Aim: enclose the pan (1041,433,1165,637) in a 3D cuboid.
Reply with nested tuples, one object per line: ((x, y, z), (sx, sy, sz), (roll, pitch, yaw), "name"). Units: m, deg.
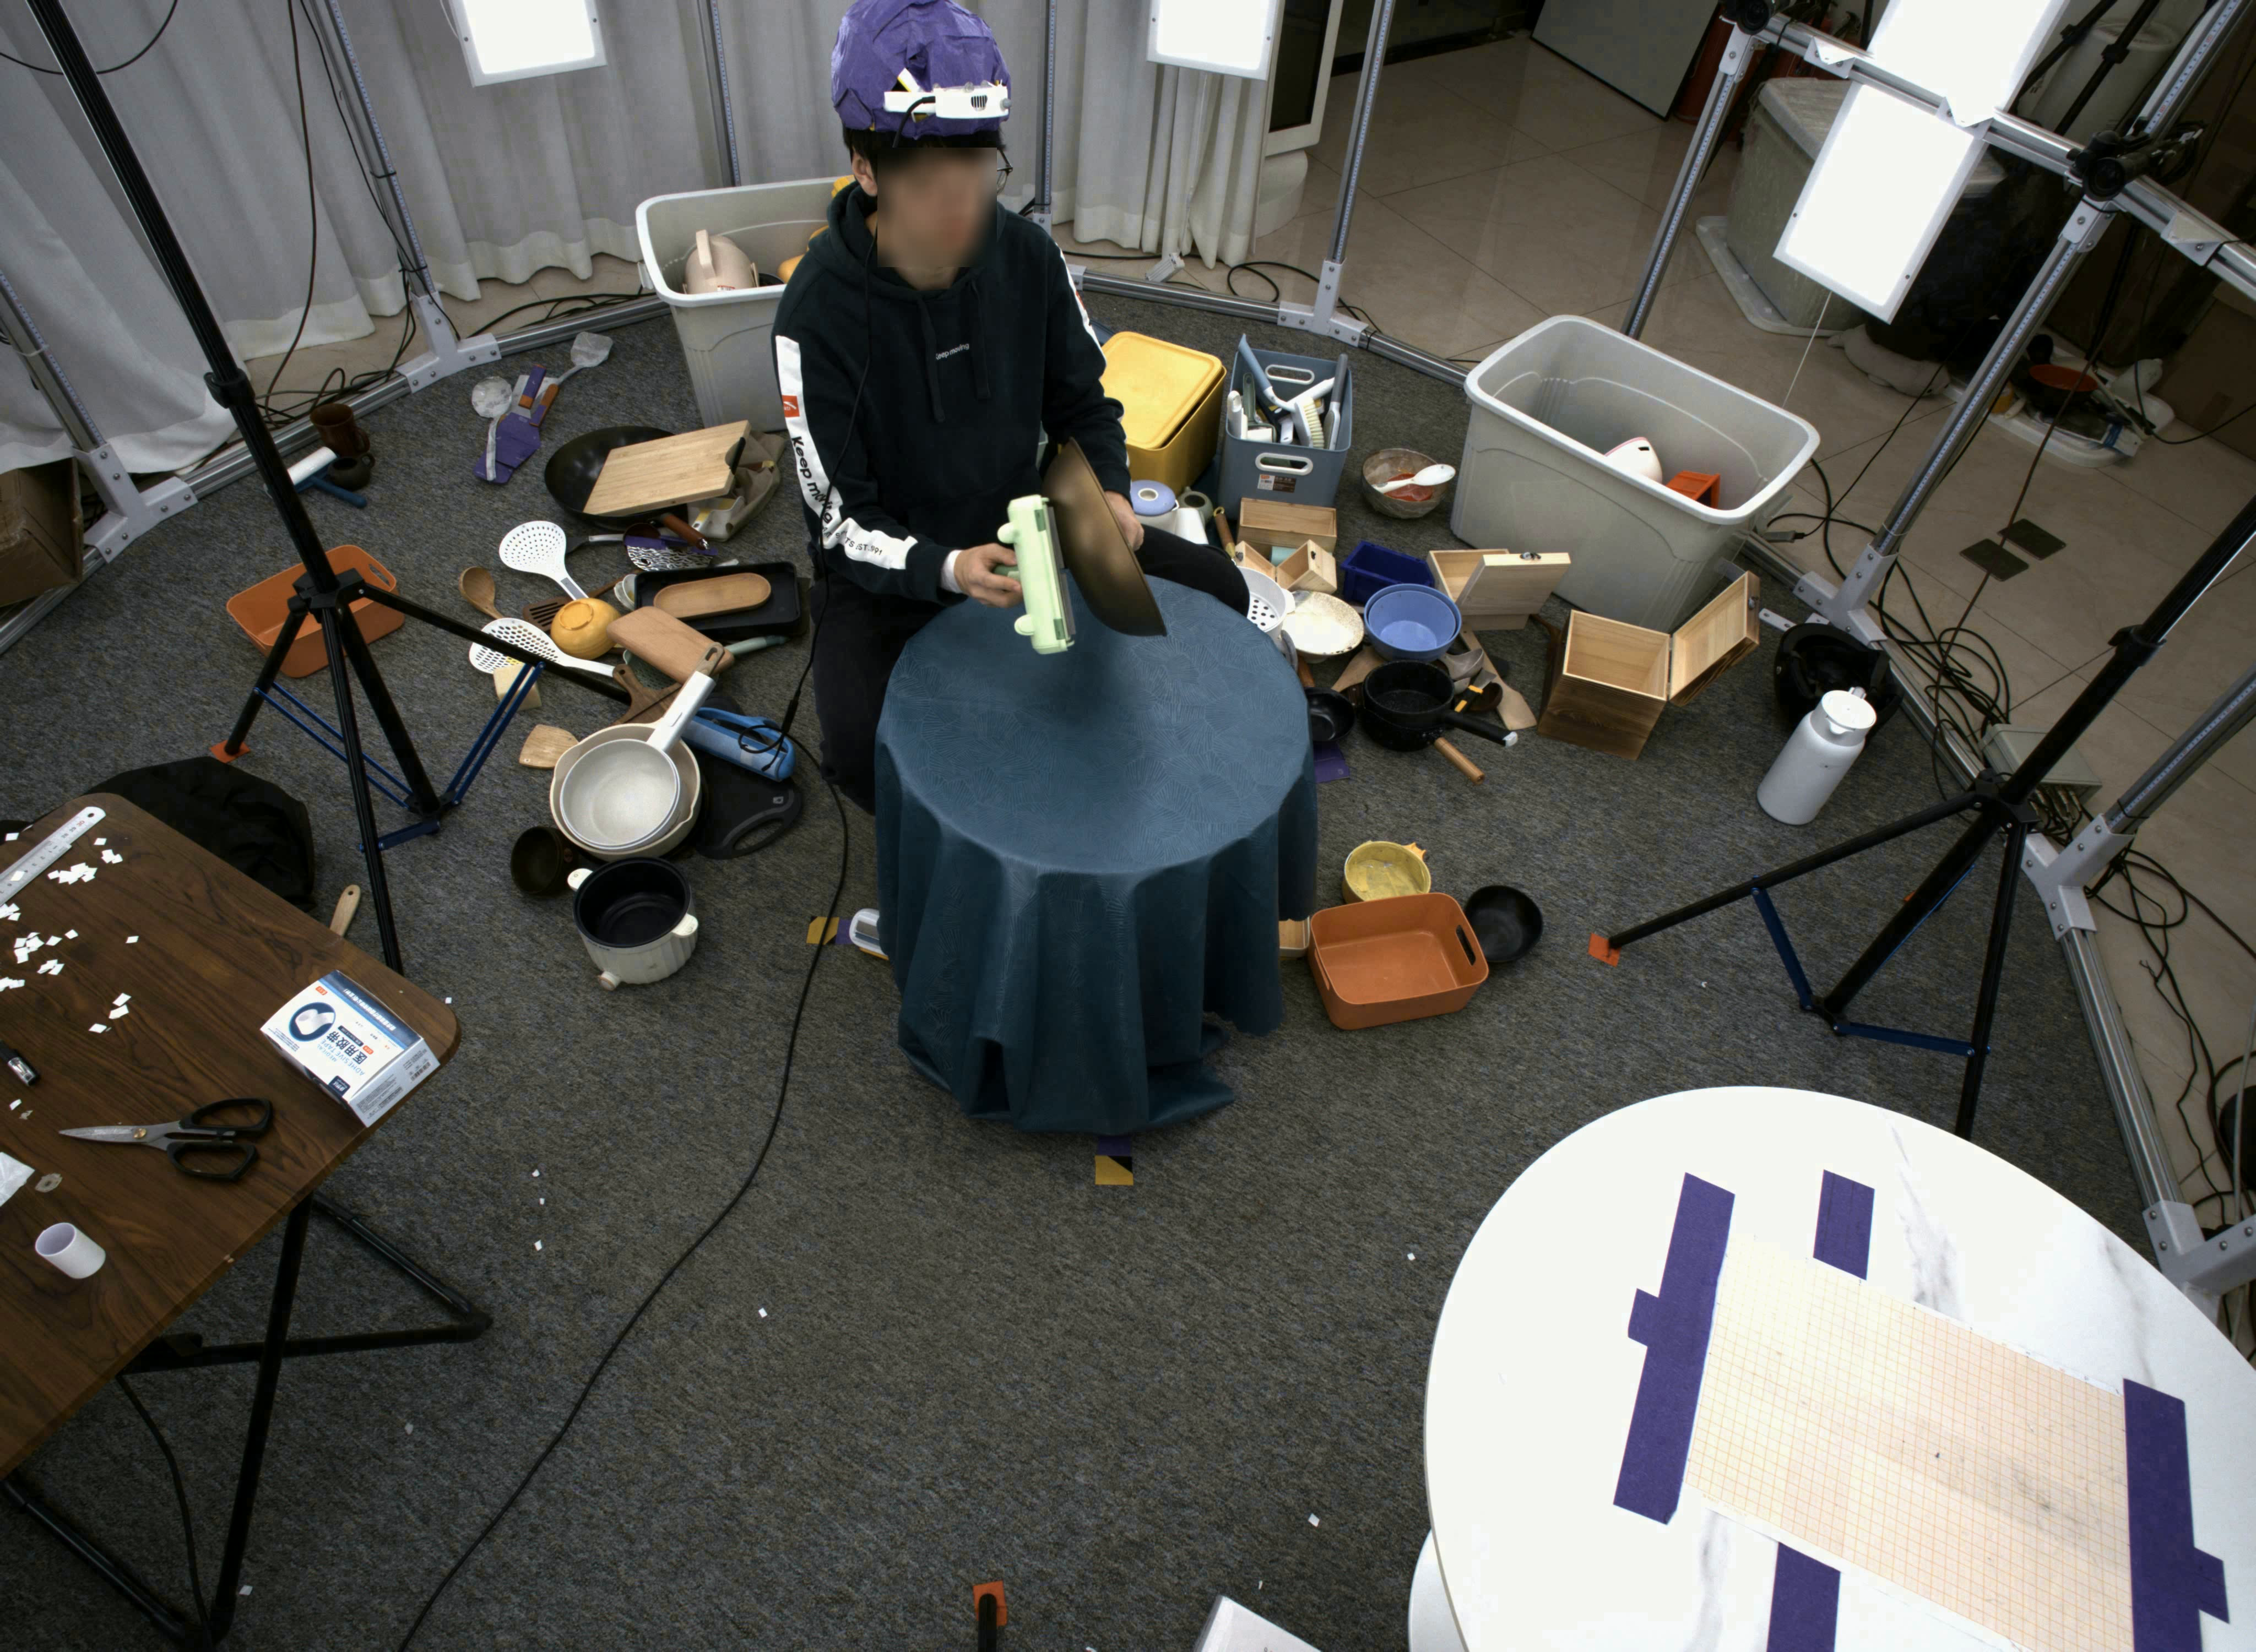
((-0.048, -0.386, 1.780), (0.087, 0.285, 0.468), (-25, 12, 3), "pan")

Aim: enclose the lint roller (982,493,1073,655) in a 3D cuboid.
((-0.154, -0.318, 1.656), (0.082, 0.196, 0.184), (-20, 16, -39), "lint roller")
